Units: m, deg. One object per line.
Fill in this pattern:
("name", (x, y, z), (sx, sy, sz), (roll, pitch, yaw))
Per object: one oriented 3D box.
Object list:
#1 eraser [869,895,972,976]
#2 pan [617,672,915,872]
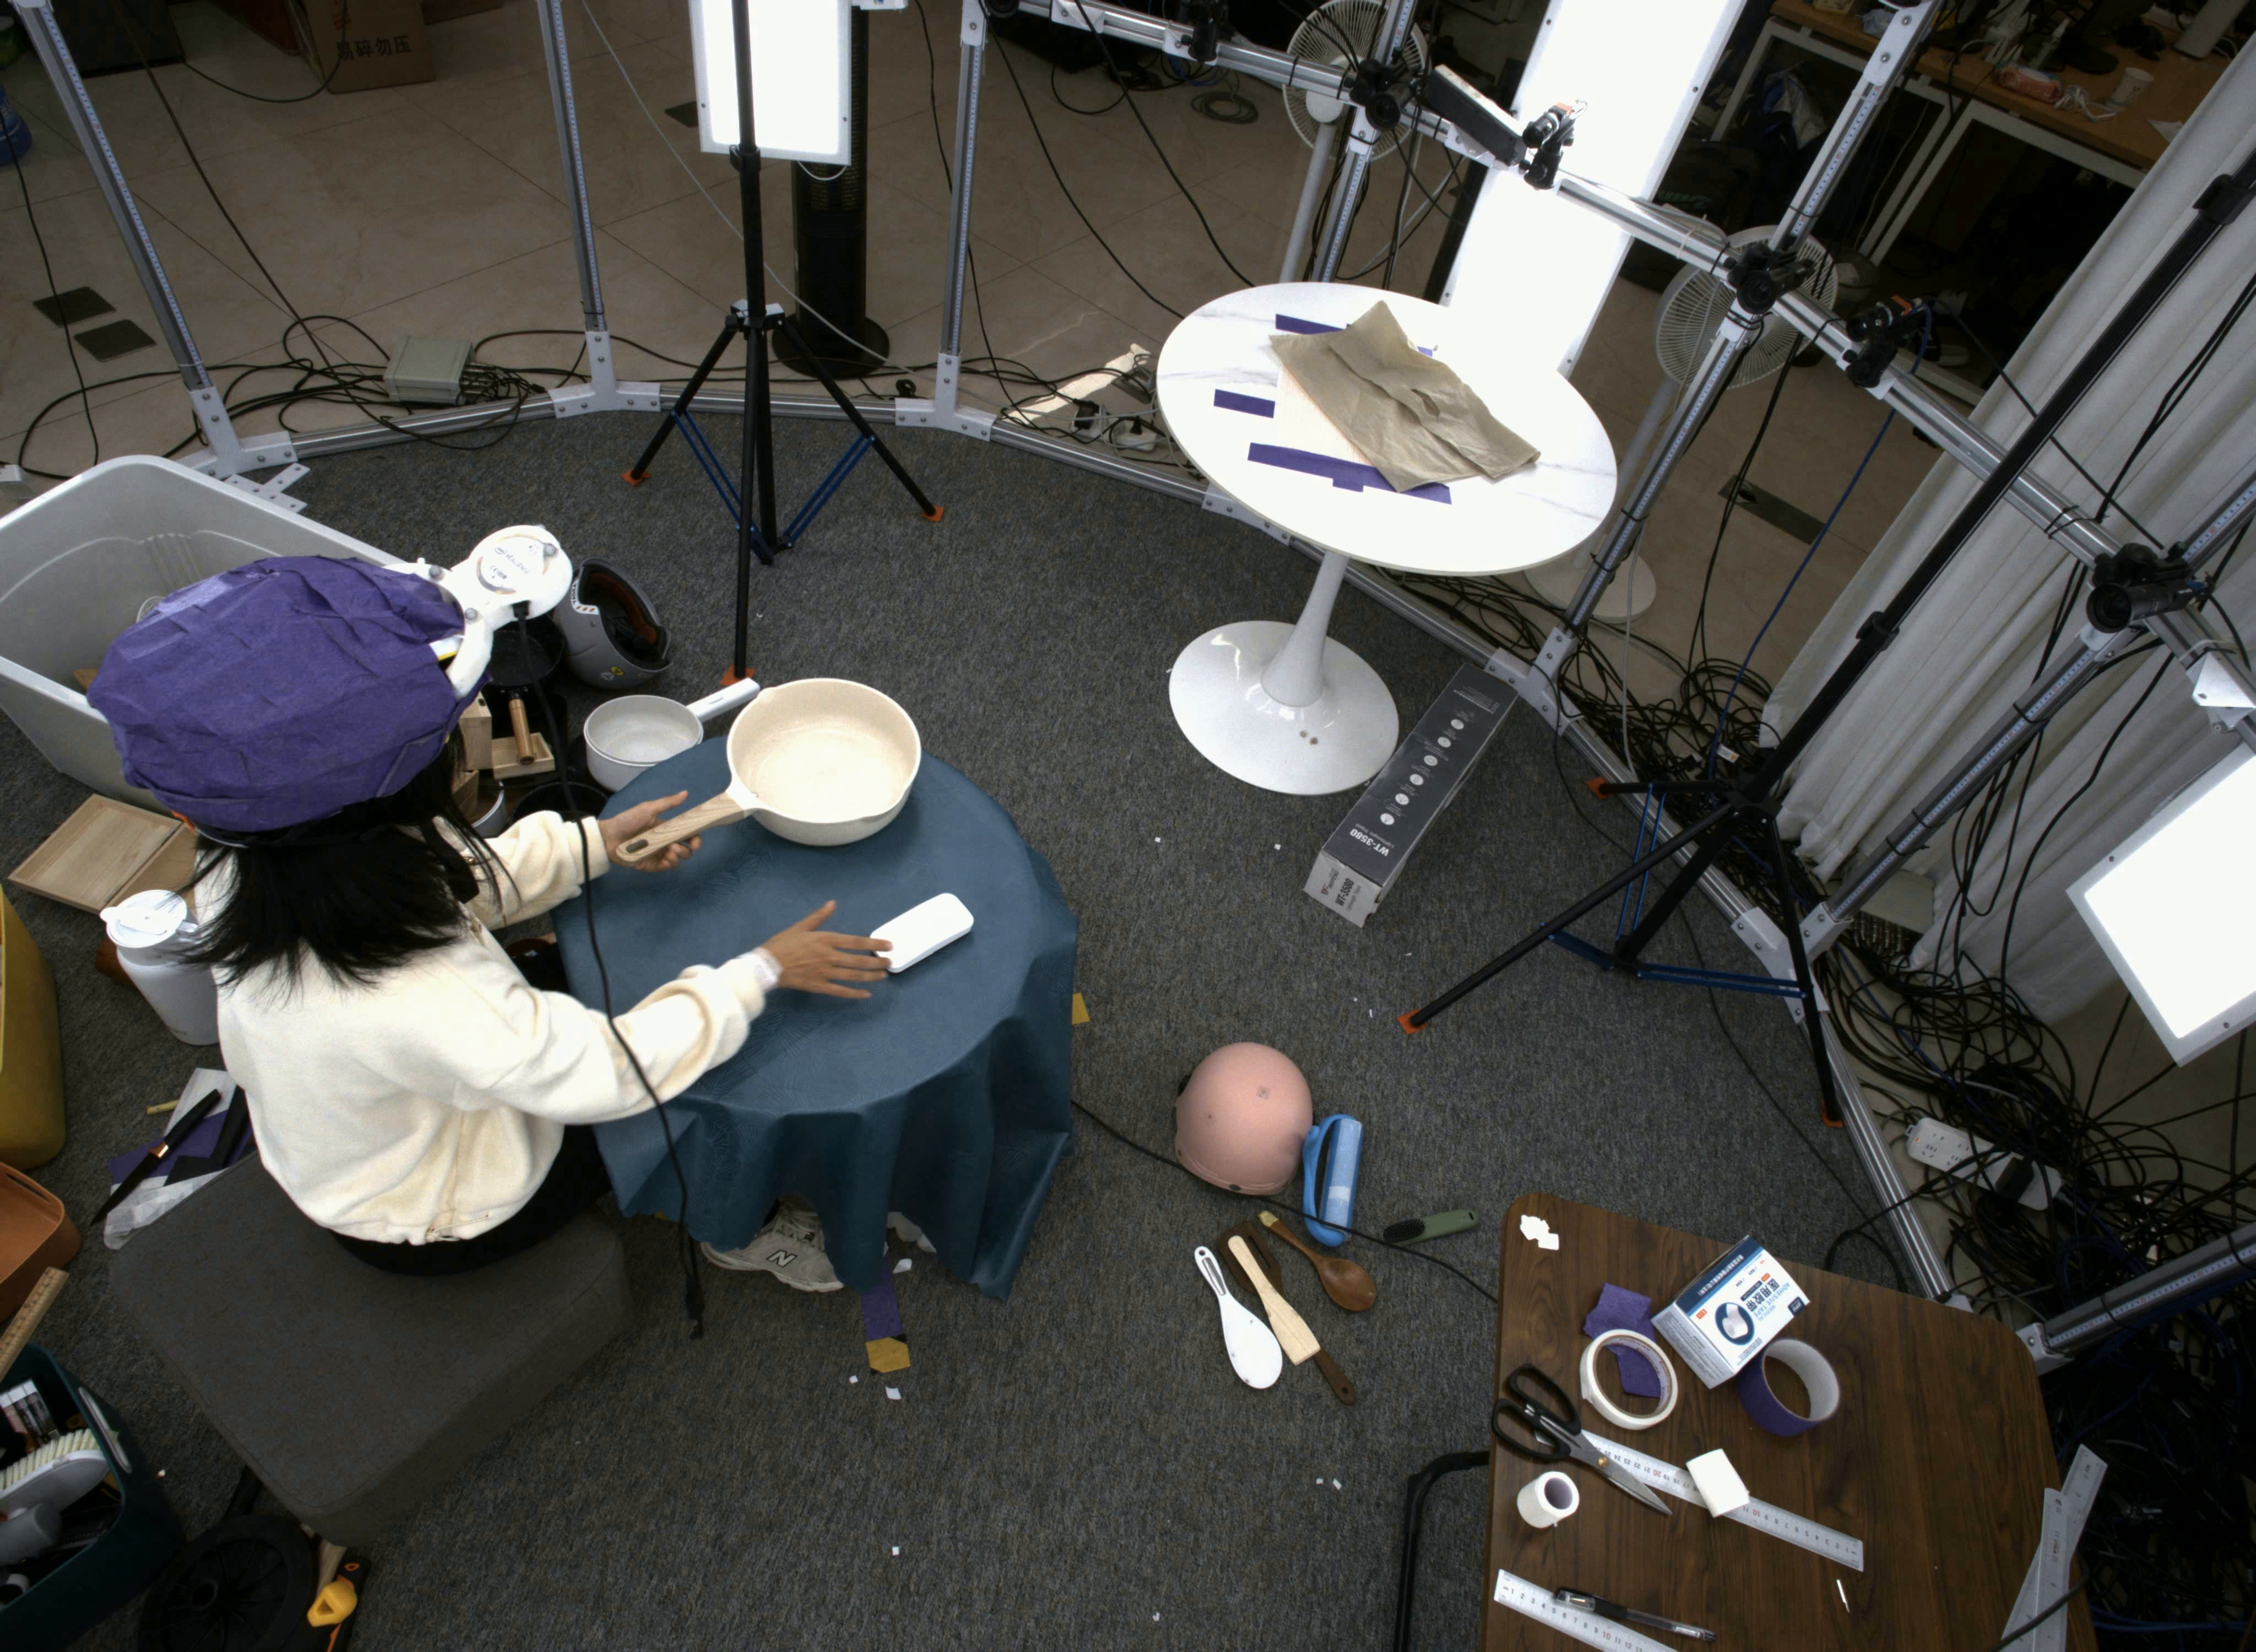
("eraser", (-0.261, 0.133, 1.643), (0.132, 0.035, 0.062), (-30, 62, -32))
("pan", (-0.471, -0.043, 1.673), (0.258, 0.104, 0.435), (41, 54, 15))
